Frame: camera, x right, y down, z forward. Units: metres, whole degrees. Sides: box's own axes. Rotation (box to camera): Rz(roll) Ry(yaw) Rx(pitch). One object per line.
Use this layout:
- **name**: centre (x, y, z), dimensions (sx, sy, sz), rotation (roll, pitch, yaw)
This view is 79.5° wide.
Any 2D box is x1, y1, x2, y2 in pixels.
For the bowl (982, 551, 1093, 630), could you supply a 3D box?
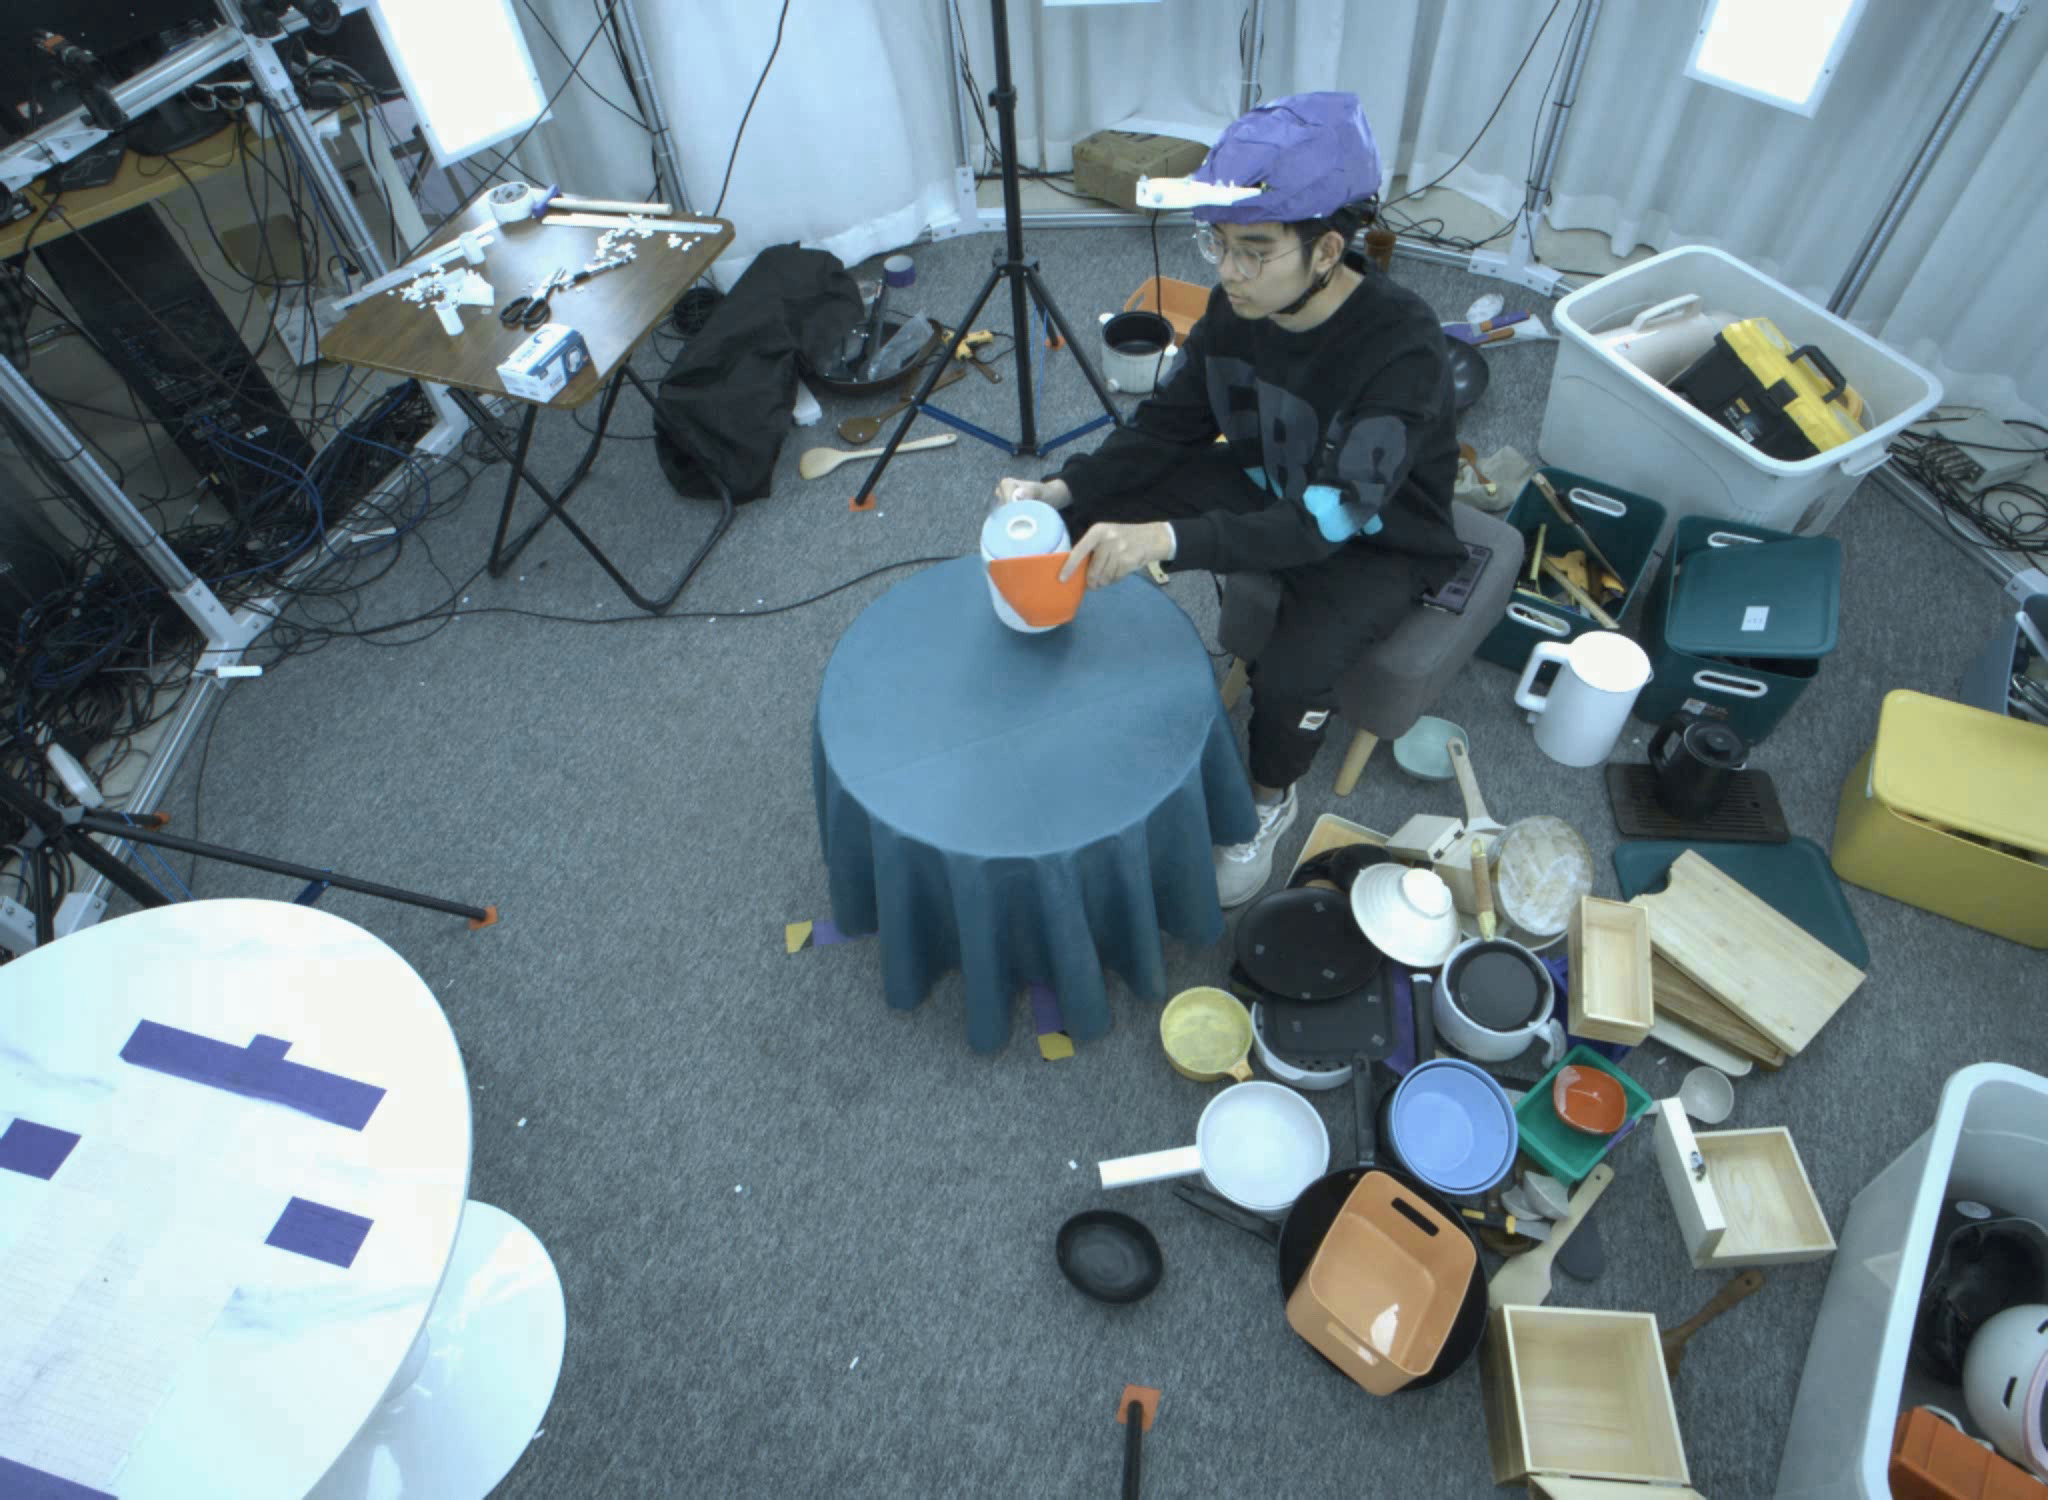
- **bowl**: centre (0.023, -0.215, 1.631), dimensions (0.148, 0.105, 0.147), rotation (-7, 21, 4)

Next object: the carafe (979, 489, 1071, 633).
- **carafe**: centre (0.003, -0.293, 1.836), dimensions (0.132, 0.185, 0.188), rotation (-9, 57, 1)
